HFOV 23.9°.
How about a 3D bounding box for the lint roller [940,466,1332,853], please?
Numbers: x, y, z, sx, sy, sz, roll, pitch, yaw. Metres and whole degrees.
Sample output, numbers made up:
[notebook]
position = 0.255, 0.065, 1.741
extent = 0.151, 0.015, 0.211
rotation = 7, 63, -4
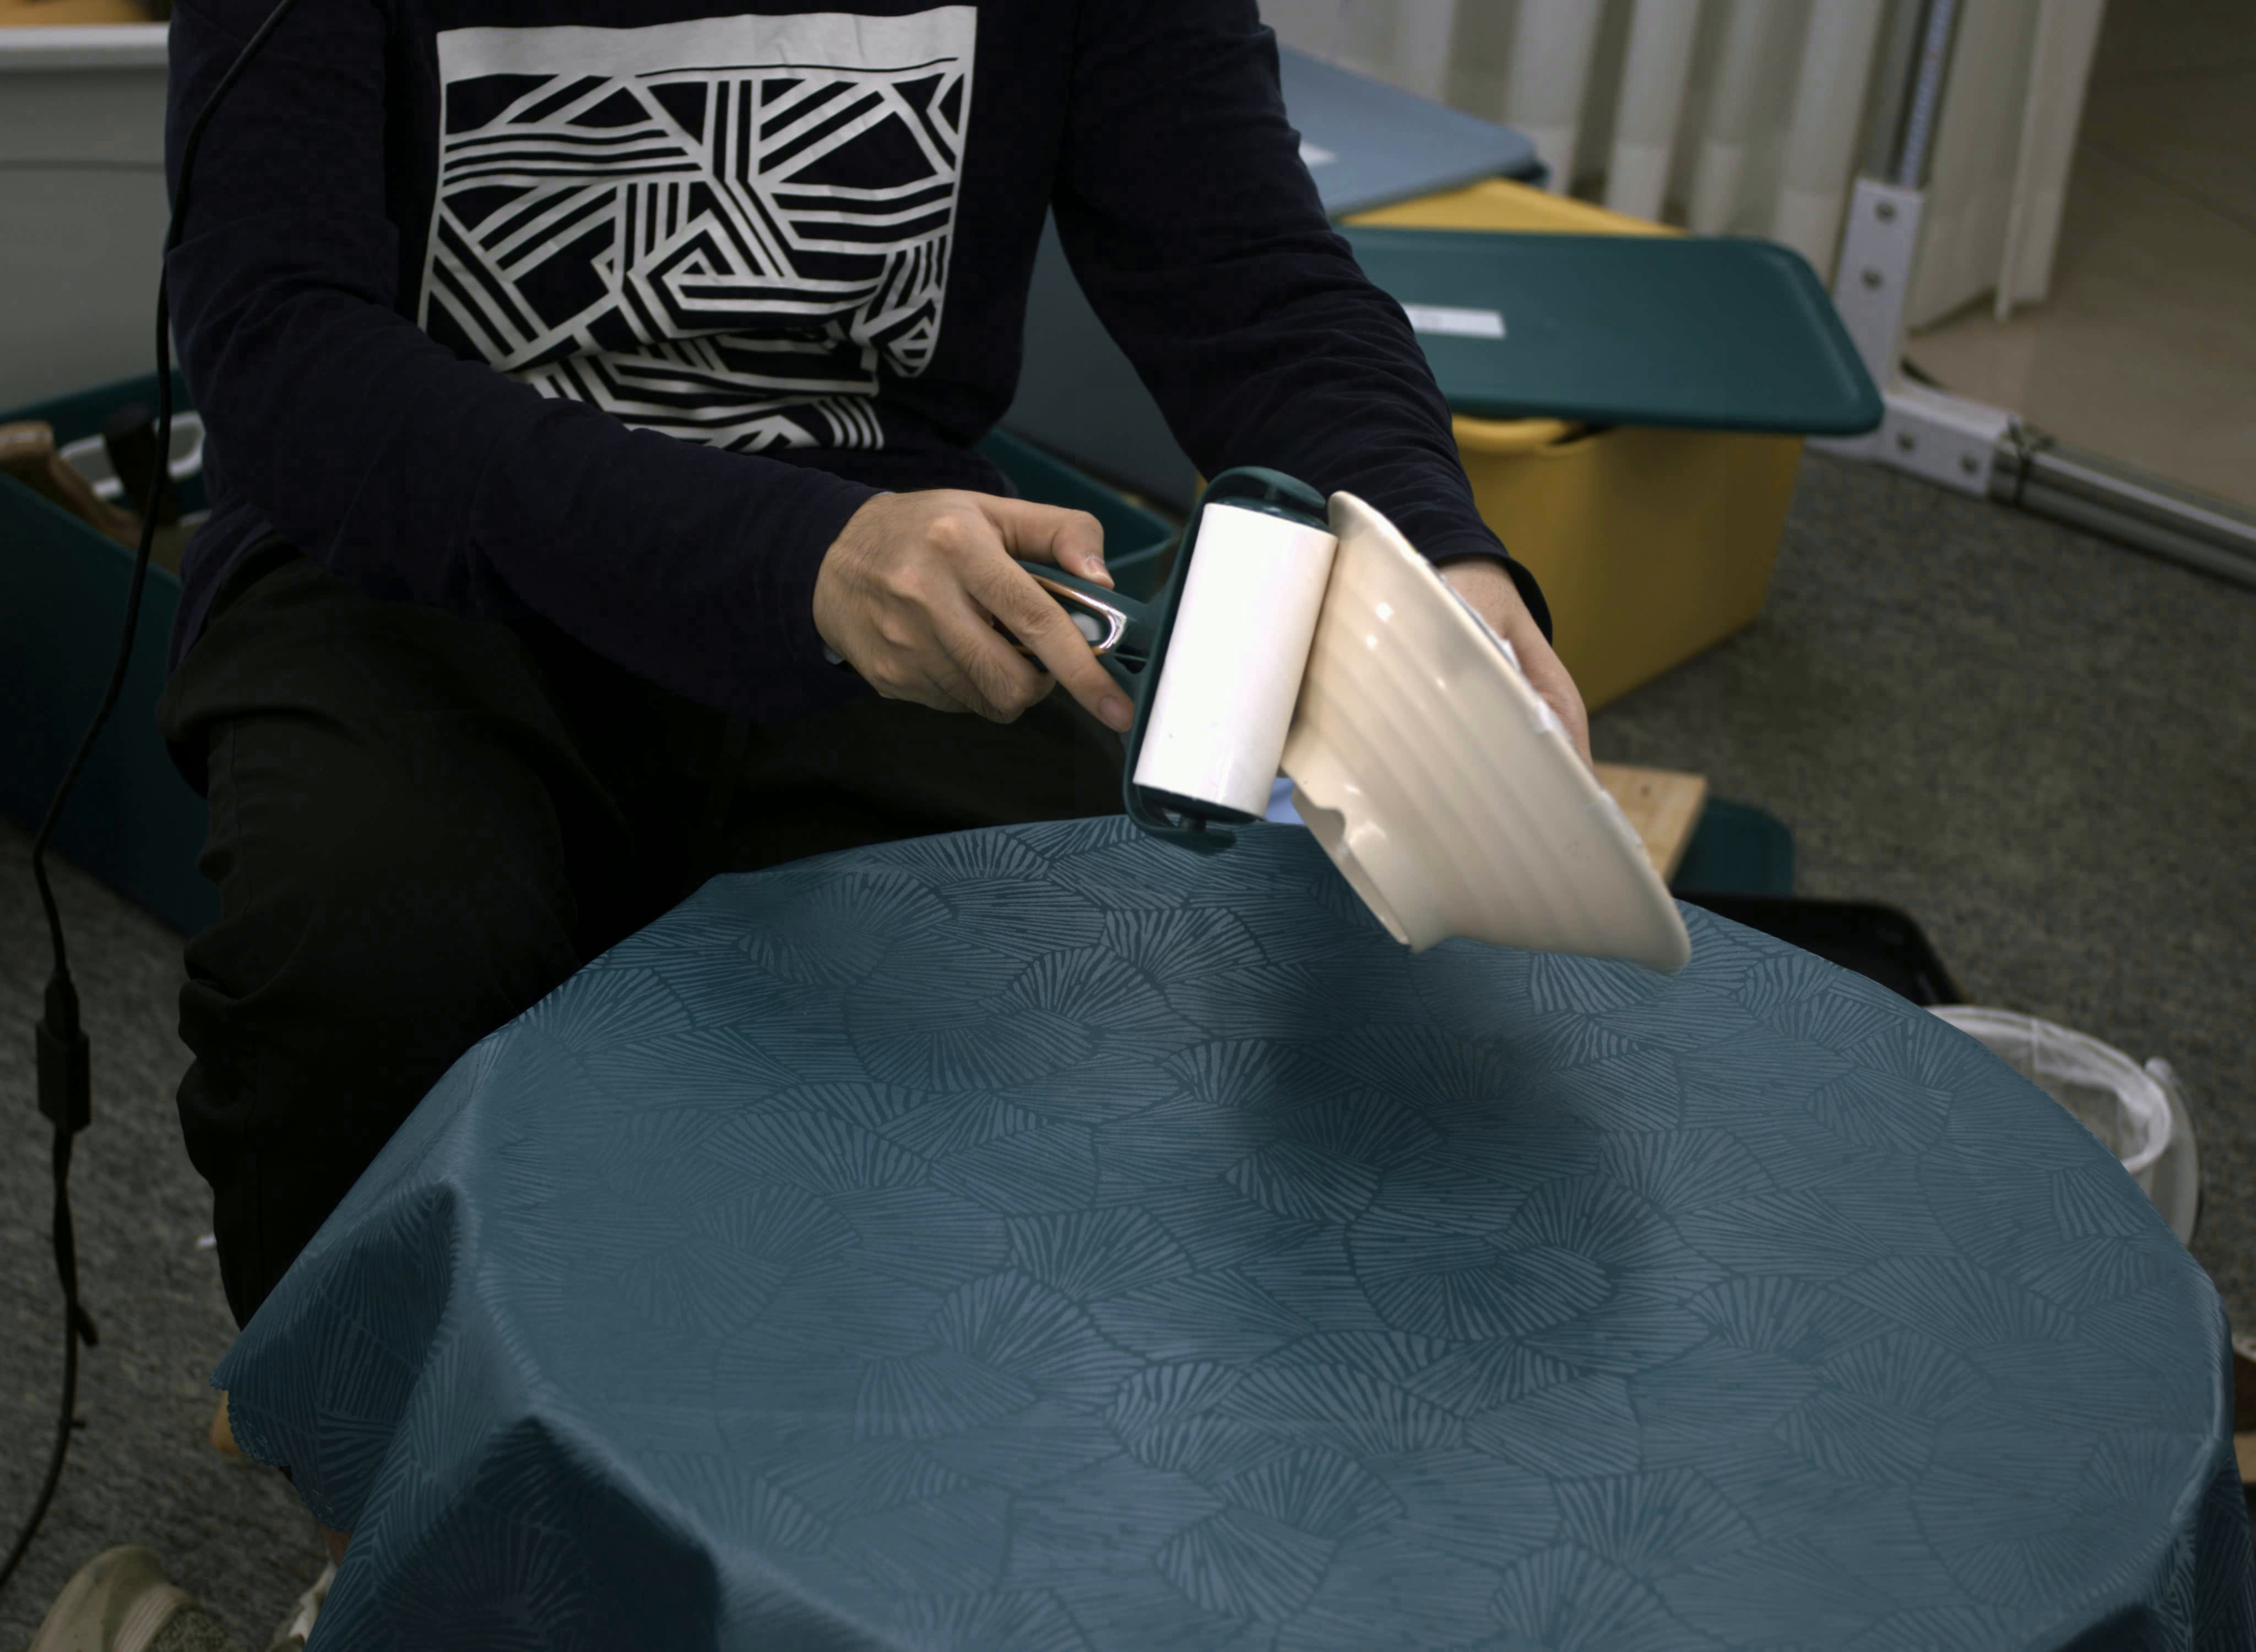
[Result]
[lint roller]
position = -0.013, -0.068, 1.862
extent = 0.181, 0.134, 0.048
rotation = 13, -3, 41

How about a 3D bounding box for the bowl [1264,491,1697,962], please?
[bowl]
position = 0.103, -0.012, 1.837
extent = 0.078, 0.202, 0.206
rotation = -38, 39, -6
